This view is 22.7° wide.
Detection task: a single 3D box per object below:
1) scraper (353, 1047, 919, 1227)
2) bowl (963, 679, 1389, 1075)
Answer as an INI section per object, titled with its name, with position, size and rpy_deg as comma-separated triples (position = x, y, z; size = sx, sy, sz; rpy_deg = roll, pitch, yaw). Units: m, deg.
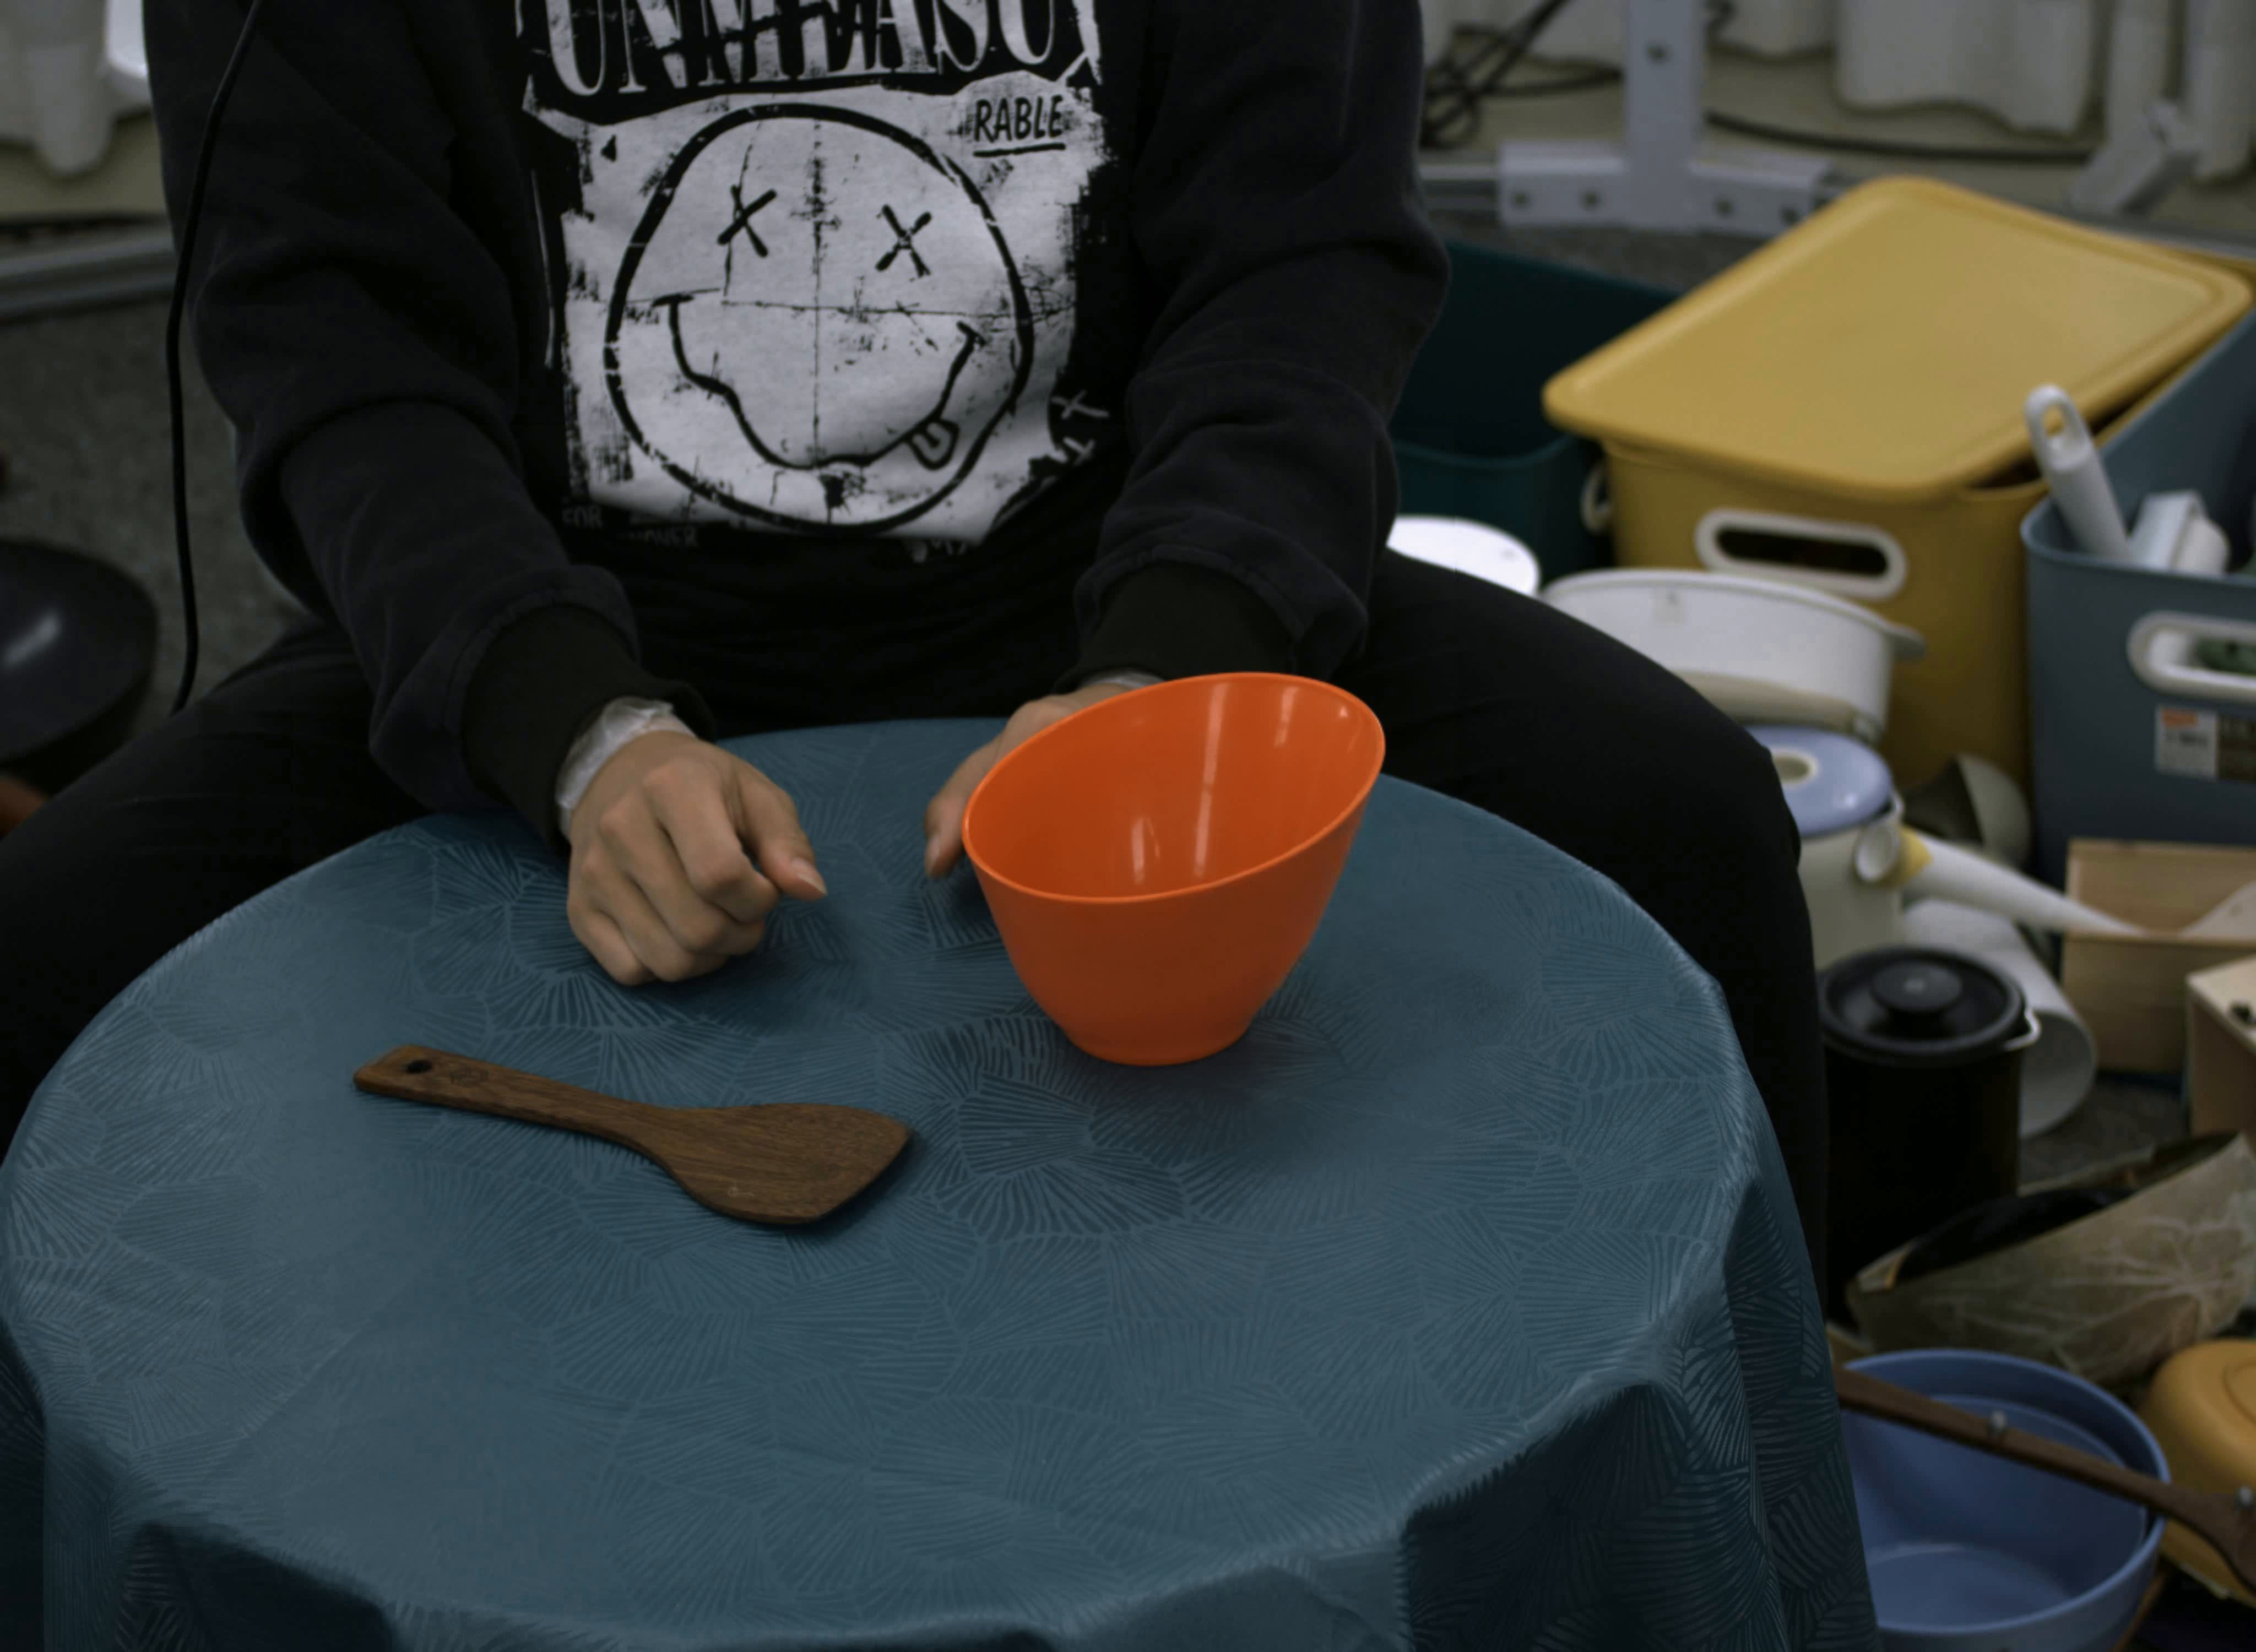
[scraper]
position = -0.173, 0.101, 1.910
size = 0.210, 0.011, 0.077
rpy_deg = 11, 30, 26
[bowl]
position = 0.018, 0.023, 1.941
size = 0.147, 0.103, 0.150
rpy_deg = -2, 27, 2
